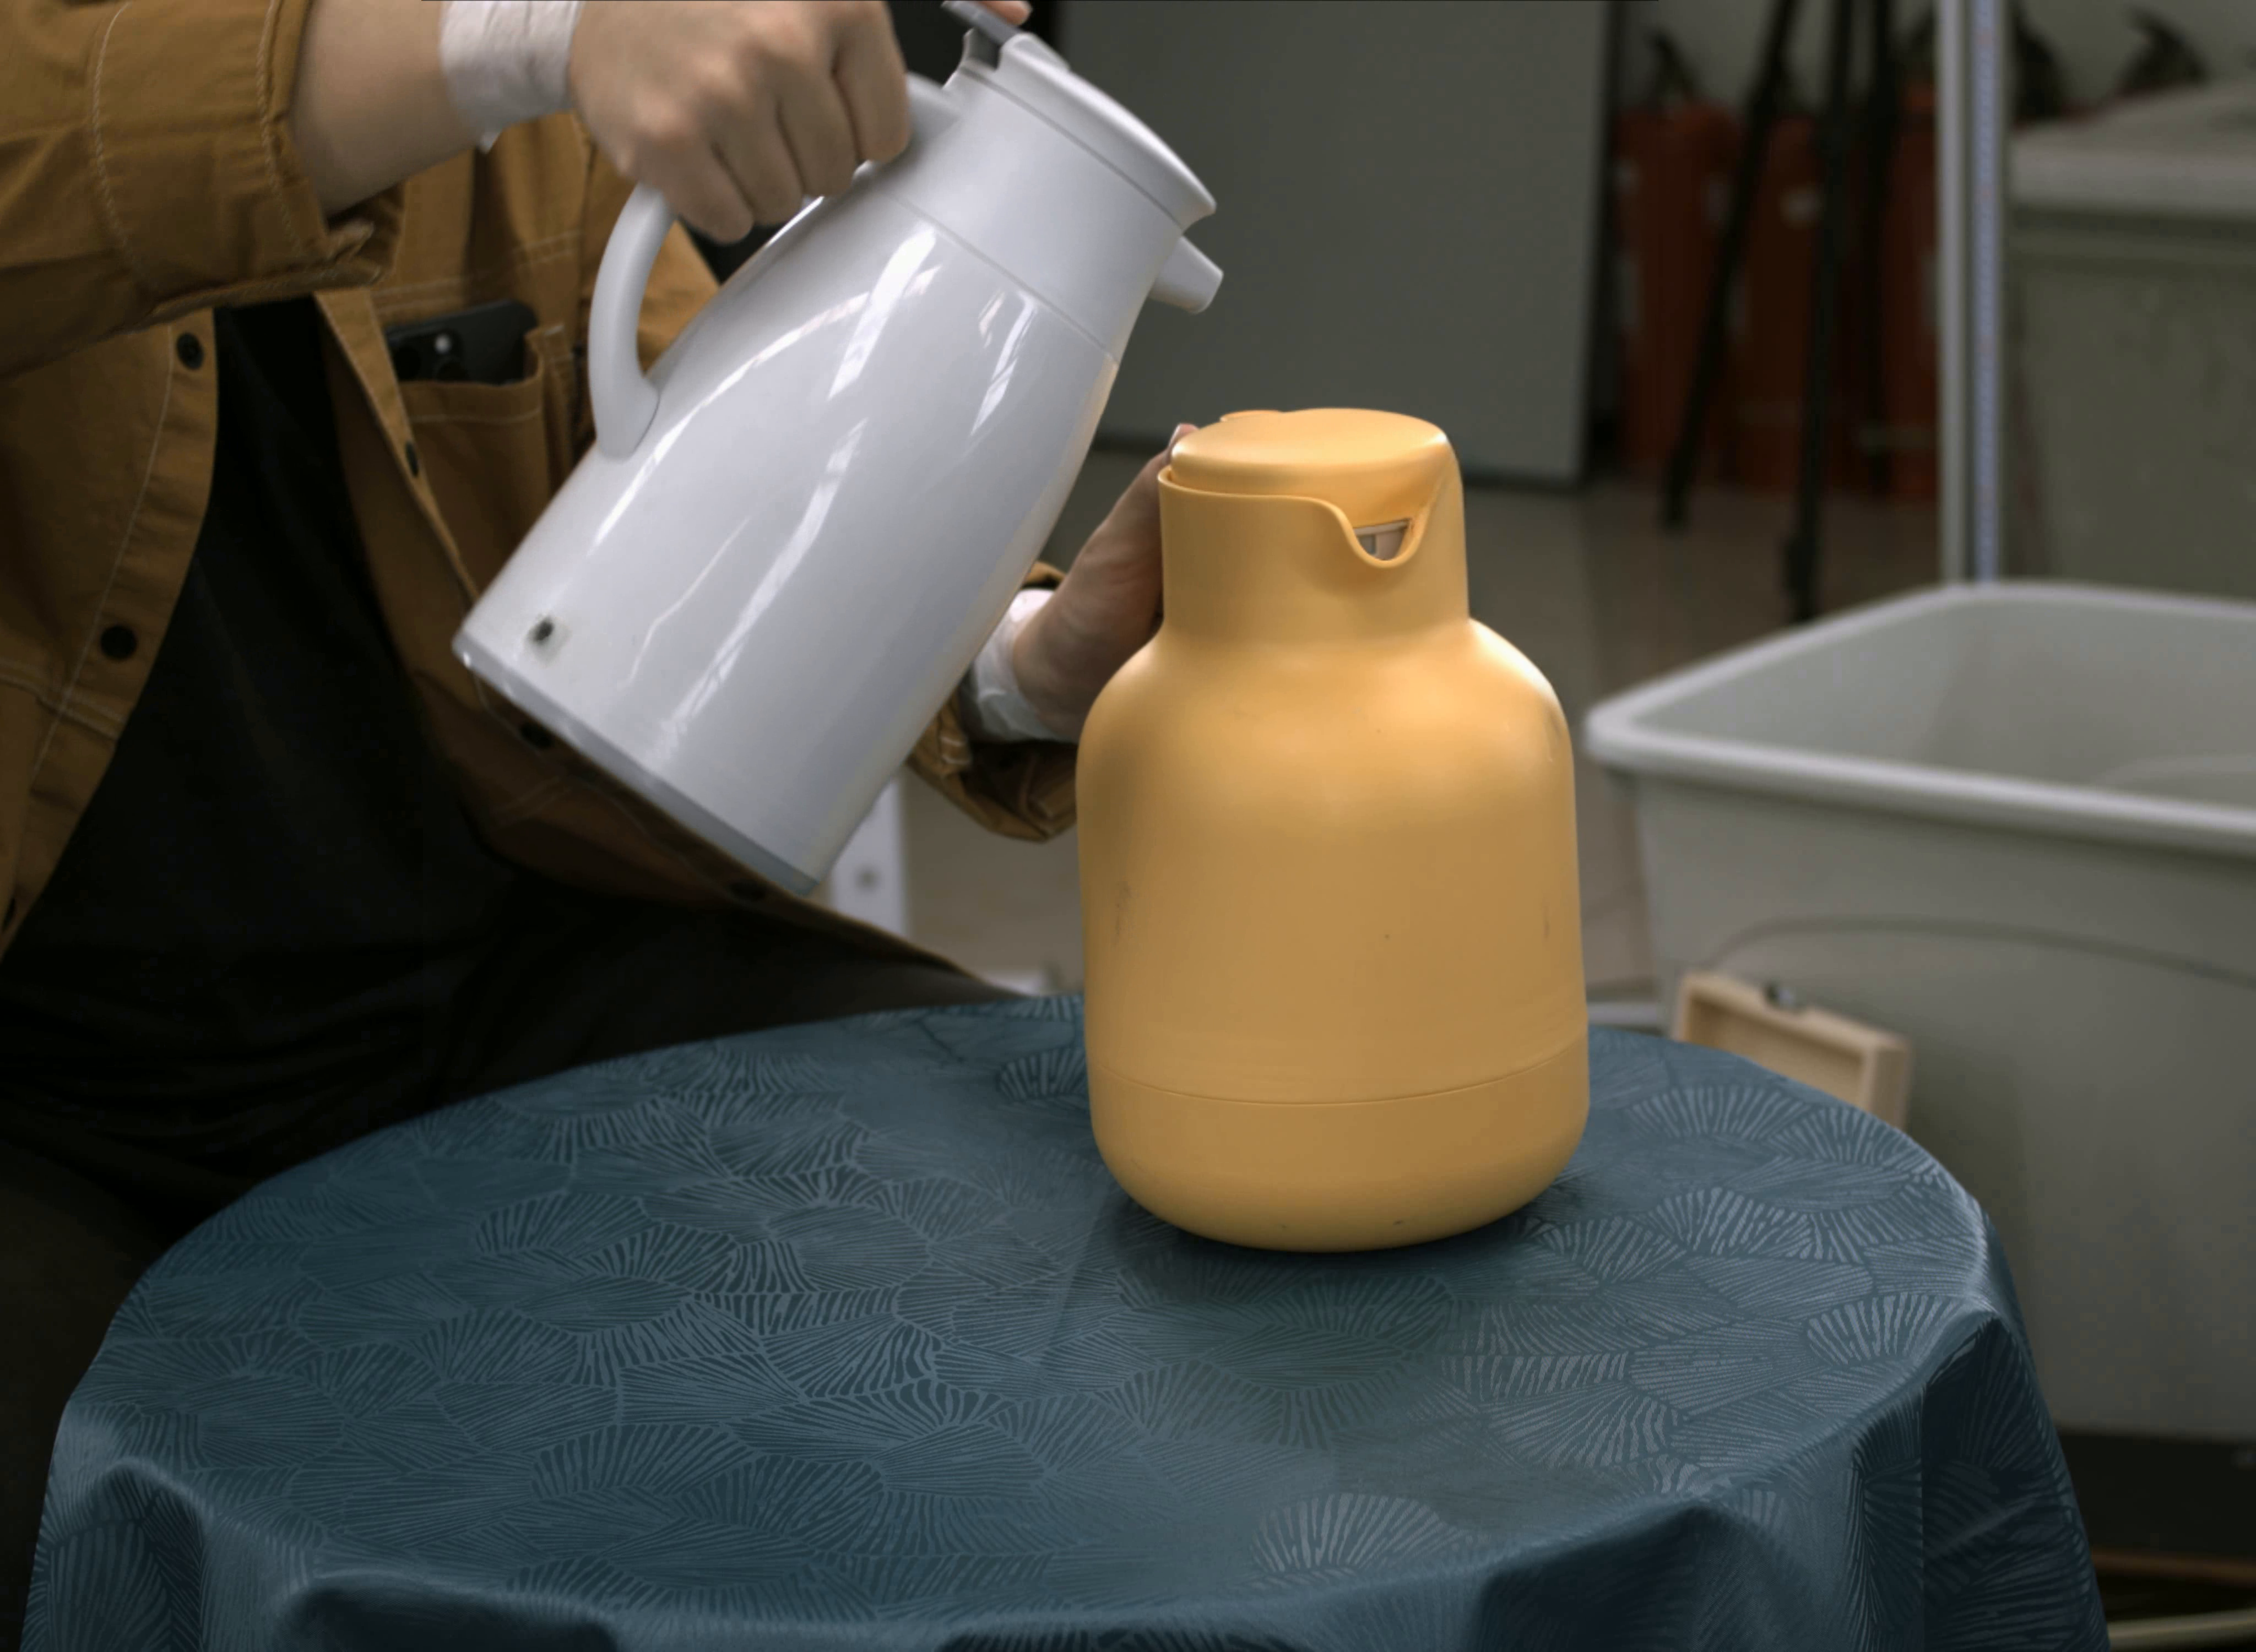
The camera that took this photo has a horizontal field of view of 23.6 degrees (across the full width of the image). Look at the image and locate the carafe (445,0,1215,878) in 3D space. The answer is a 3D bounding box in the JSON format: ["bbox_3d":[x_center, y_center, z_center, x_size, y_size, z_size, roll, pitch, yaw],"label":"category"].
[{"bbox_3d":[-0.092,-0.133,1.595,0.165,0.250,0.134,35,0,-28],"label":"carafe"}]

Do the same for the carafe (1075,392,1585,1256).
[{"bbox_3d":[0.059,-0.009,1.739,0.160,0.263,0.204,-5,15,-13],"label":"carafe"}]
